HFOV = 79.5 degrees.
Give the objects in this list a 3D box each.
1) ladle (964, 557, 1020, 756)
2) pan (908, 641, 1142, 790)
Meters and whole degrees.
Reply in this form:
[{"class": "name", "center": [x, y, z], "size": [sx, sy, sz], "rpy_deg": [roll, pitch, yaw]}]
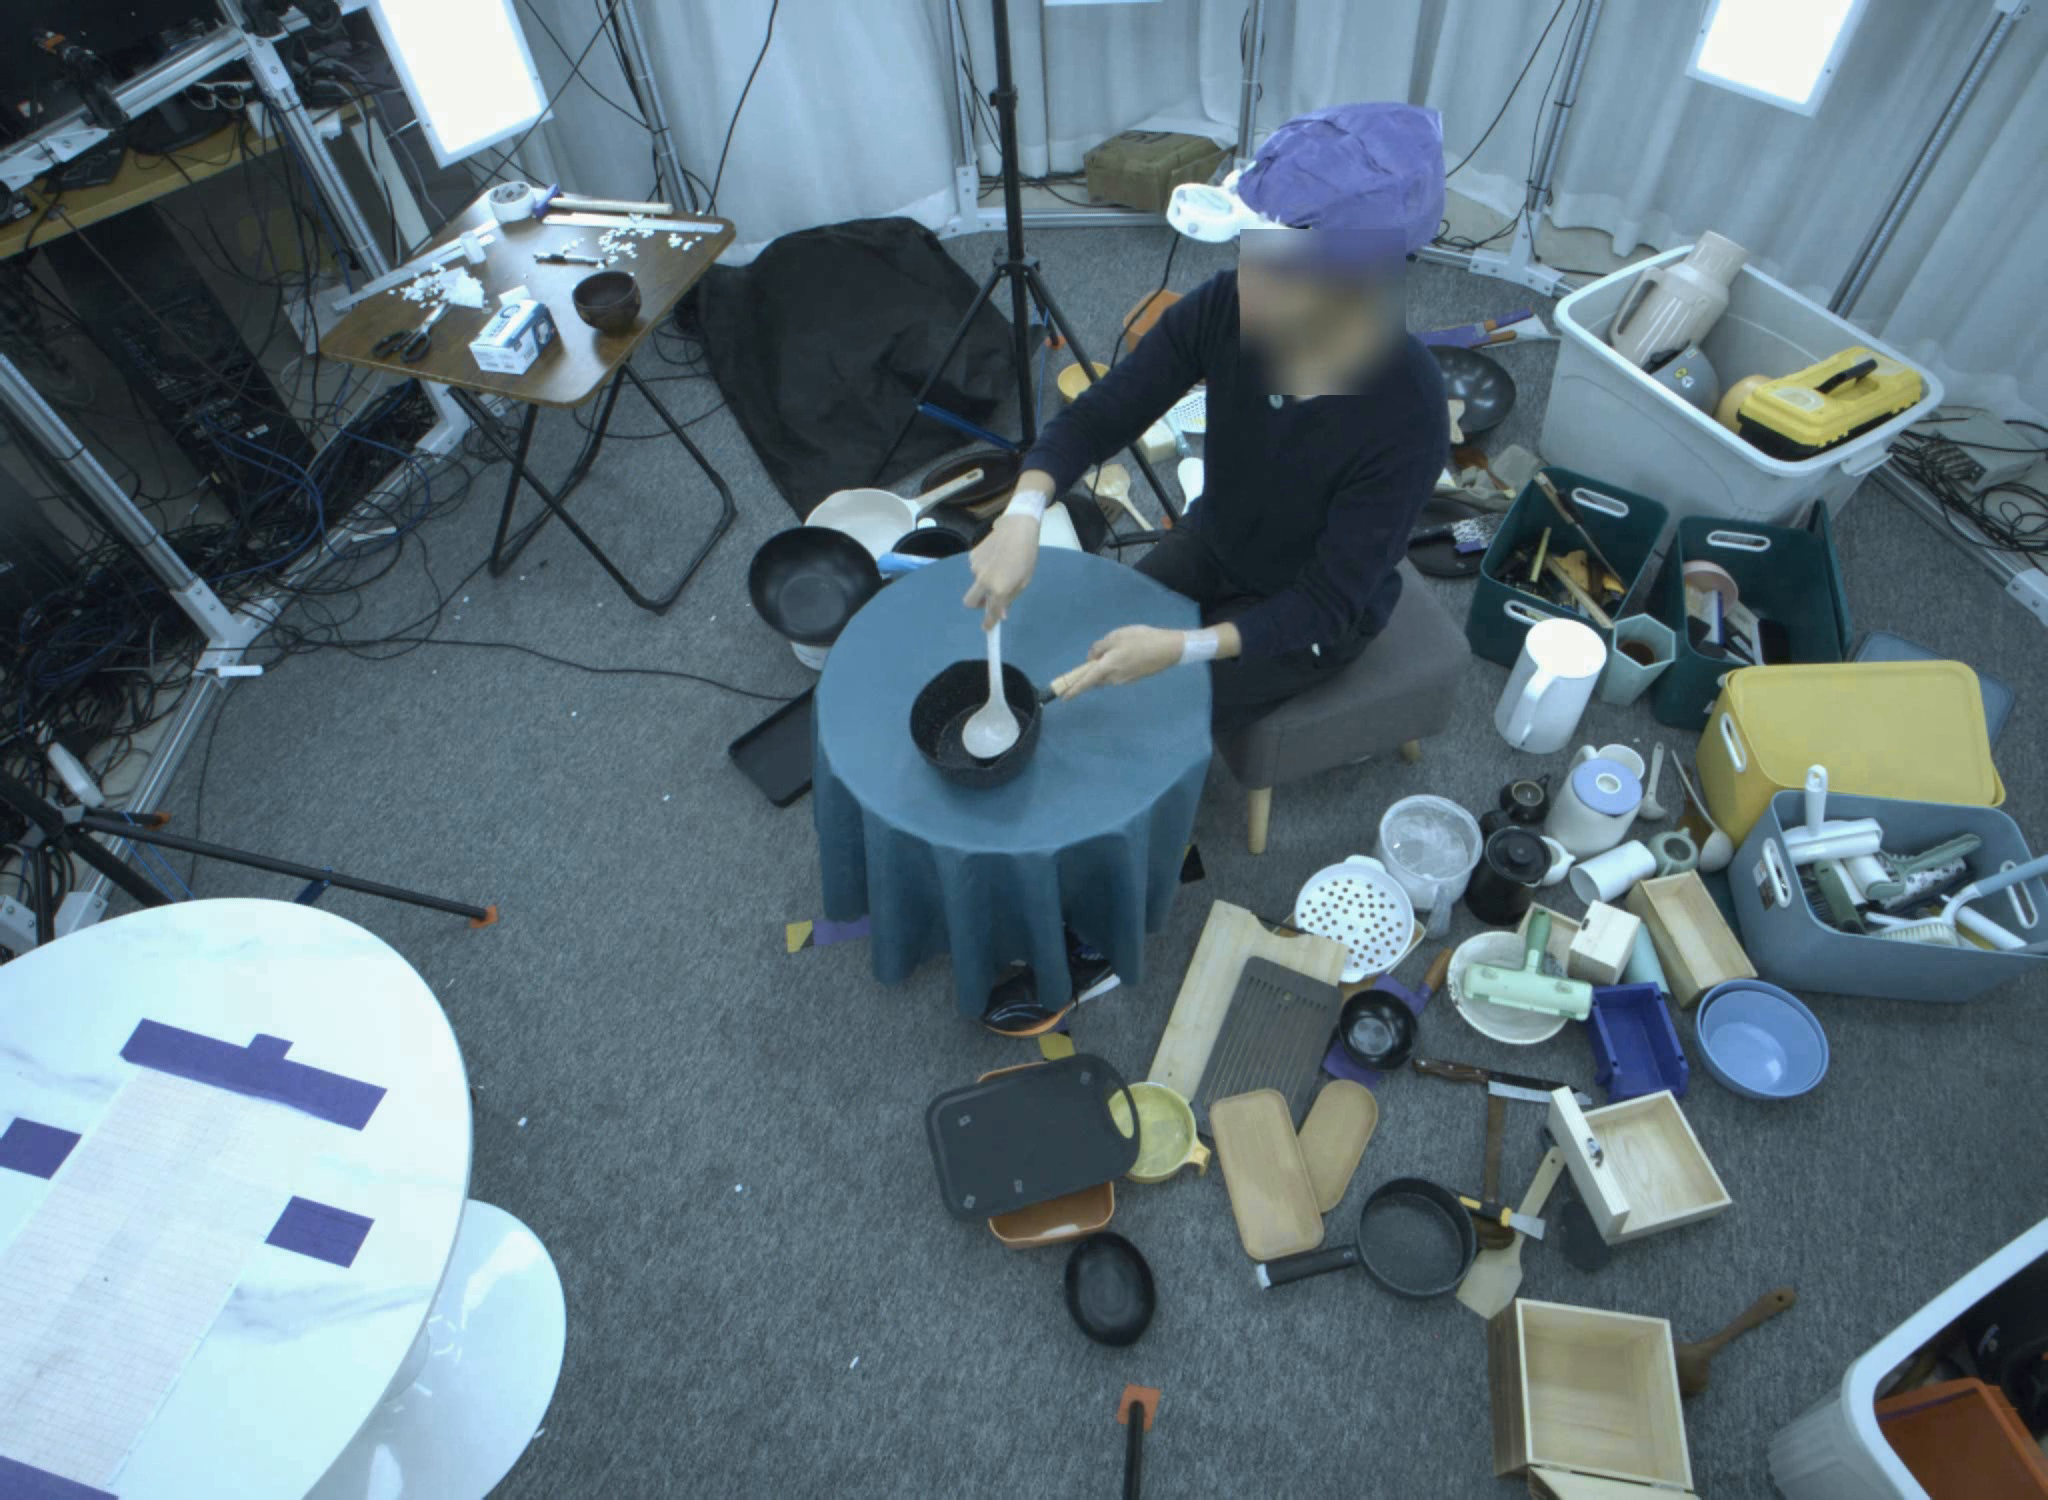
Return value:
[{"class": "ladle", "center": [-0.052, -0.127, 1.707], "size": [0.087, 0.277, 0.070], "rpy_deg": [15, 32, 34]}, {"class": "pan", "center": [0.009, -0.063, 1.738], "size": [0.343, 0.110, 0.204], "rpy_deg": [-20, 55, 1]}]
